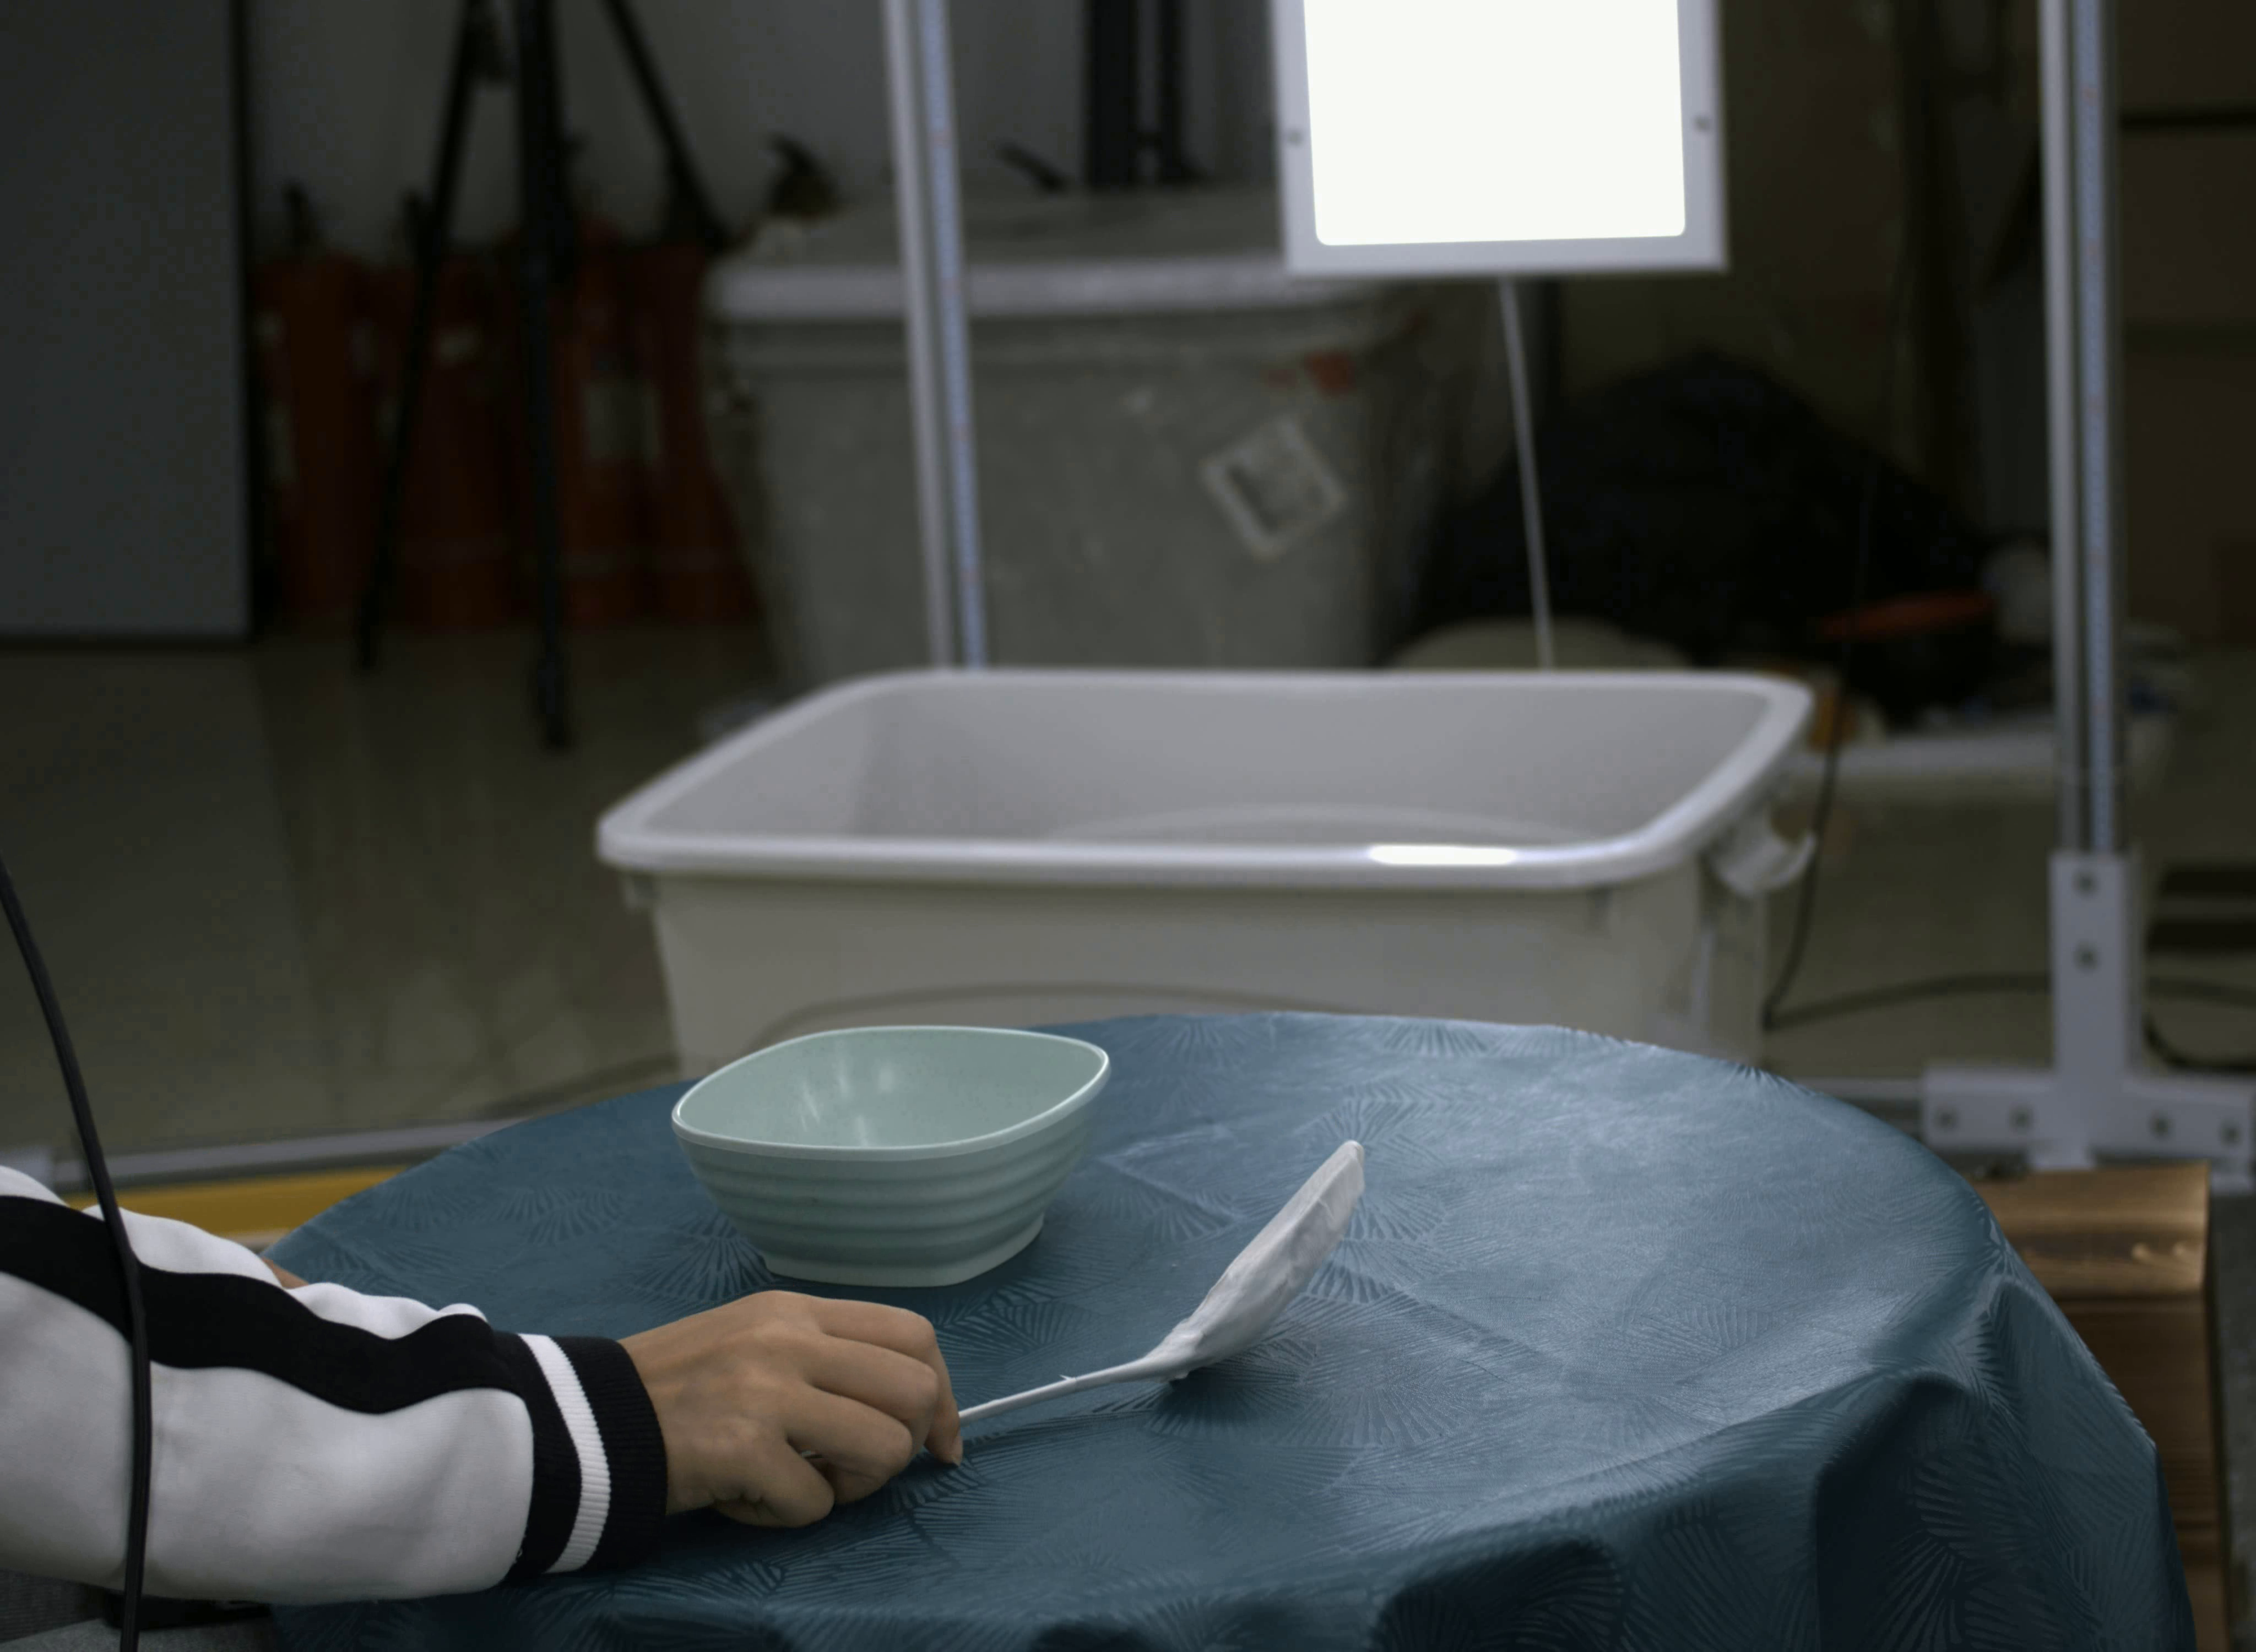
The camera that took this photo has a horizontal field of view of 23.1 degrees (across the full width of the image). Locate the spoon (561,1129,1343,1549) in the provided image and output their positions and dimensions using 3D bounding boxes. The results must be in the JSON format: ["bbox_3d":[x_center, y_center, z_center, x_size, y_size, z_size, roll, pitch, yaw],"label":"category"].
[{"bbox_3d":[-0.052,0.158,1.683,0.272,0.060,0.102,-14,-23,-19],"label":"spoon"}]

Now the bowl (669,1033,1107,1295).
[{"bbox_3d":[-0.078,0.117,1.856,0.151,0.059,0.151,-5,14,0],"label":"bowl"}]
